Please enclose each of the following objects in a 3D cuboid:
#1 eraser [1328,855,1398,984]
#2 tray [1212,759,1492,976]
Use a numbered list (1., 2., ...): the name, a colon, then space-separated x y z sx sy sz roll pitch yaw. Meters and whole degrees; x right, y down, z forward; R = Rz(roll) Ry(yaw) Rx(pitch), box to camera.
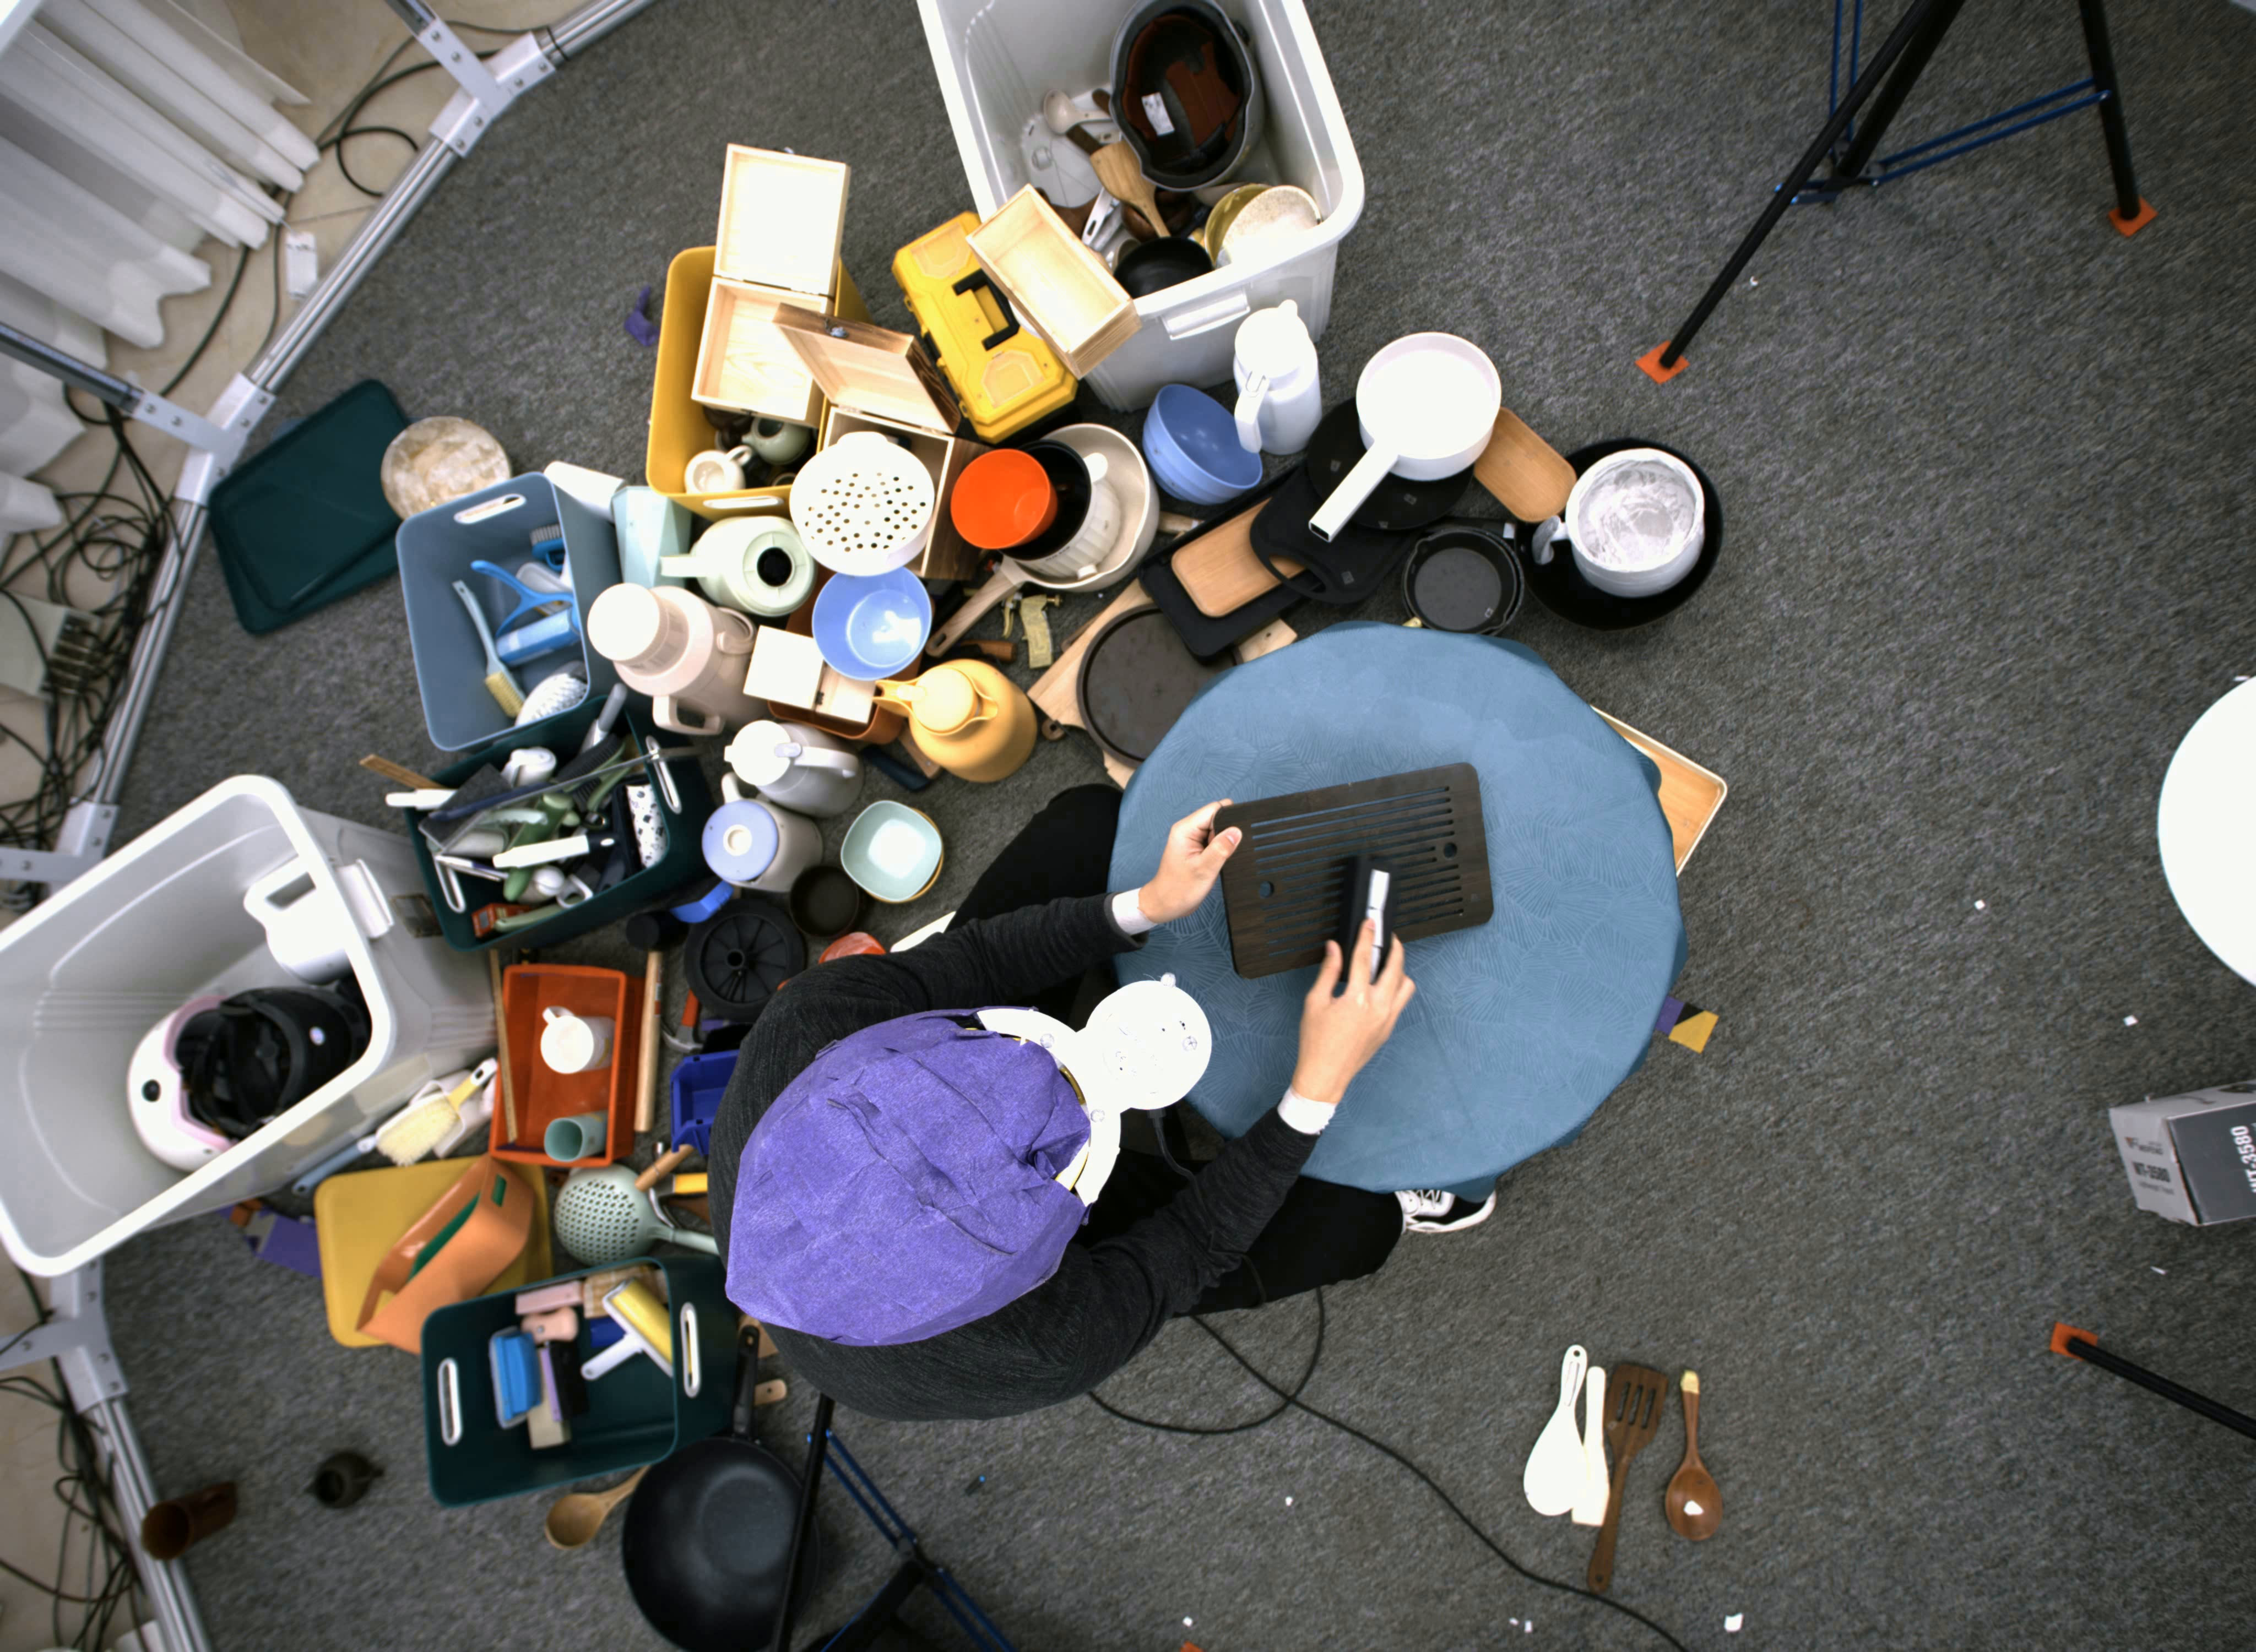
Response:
1. eraser: 0.230 0.090 1.358 0.053 0.030 0.126 5 95 -19
2. tray: 0.228 0.036 1.375 0.304 0.018 0.171 -11 98 -21
